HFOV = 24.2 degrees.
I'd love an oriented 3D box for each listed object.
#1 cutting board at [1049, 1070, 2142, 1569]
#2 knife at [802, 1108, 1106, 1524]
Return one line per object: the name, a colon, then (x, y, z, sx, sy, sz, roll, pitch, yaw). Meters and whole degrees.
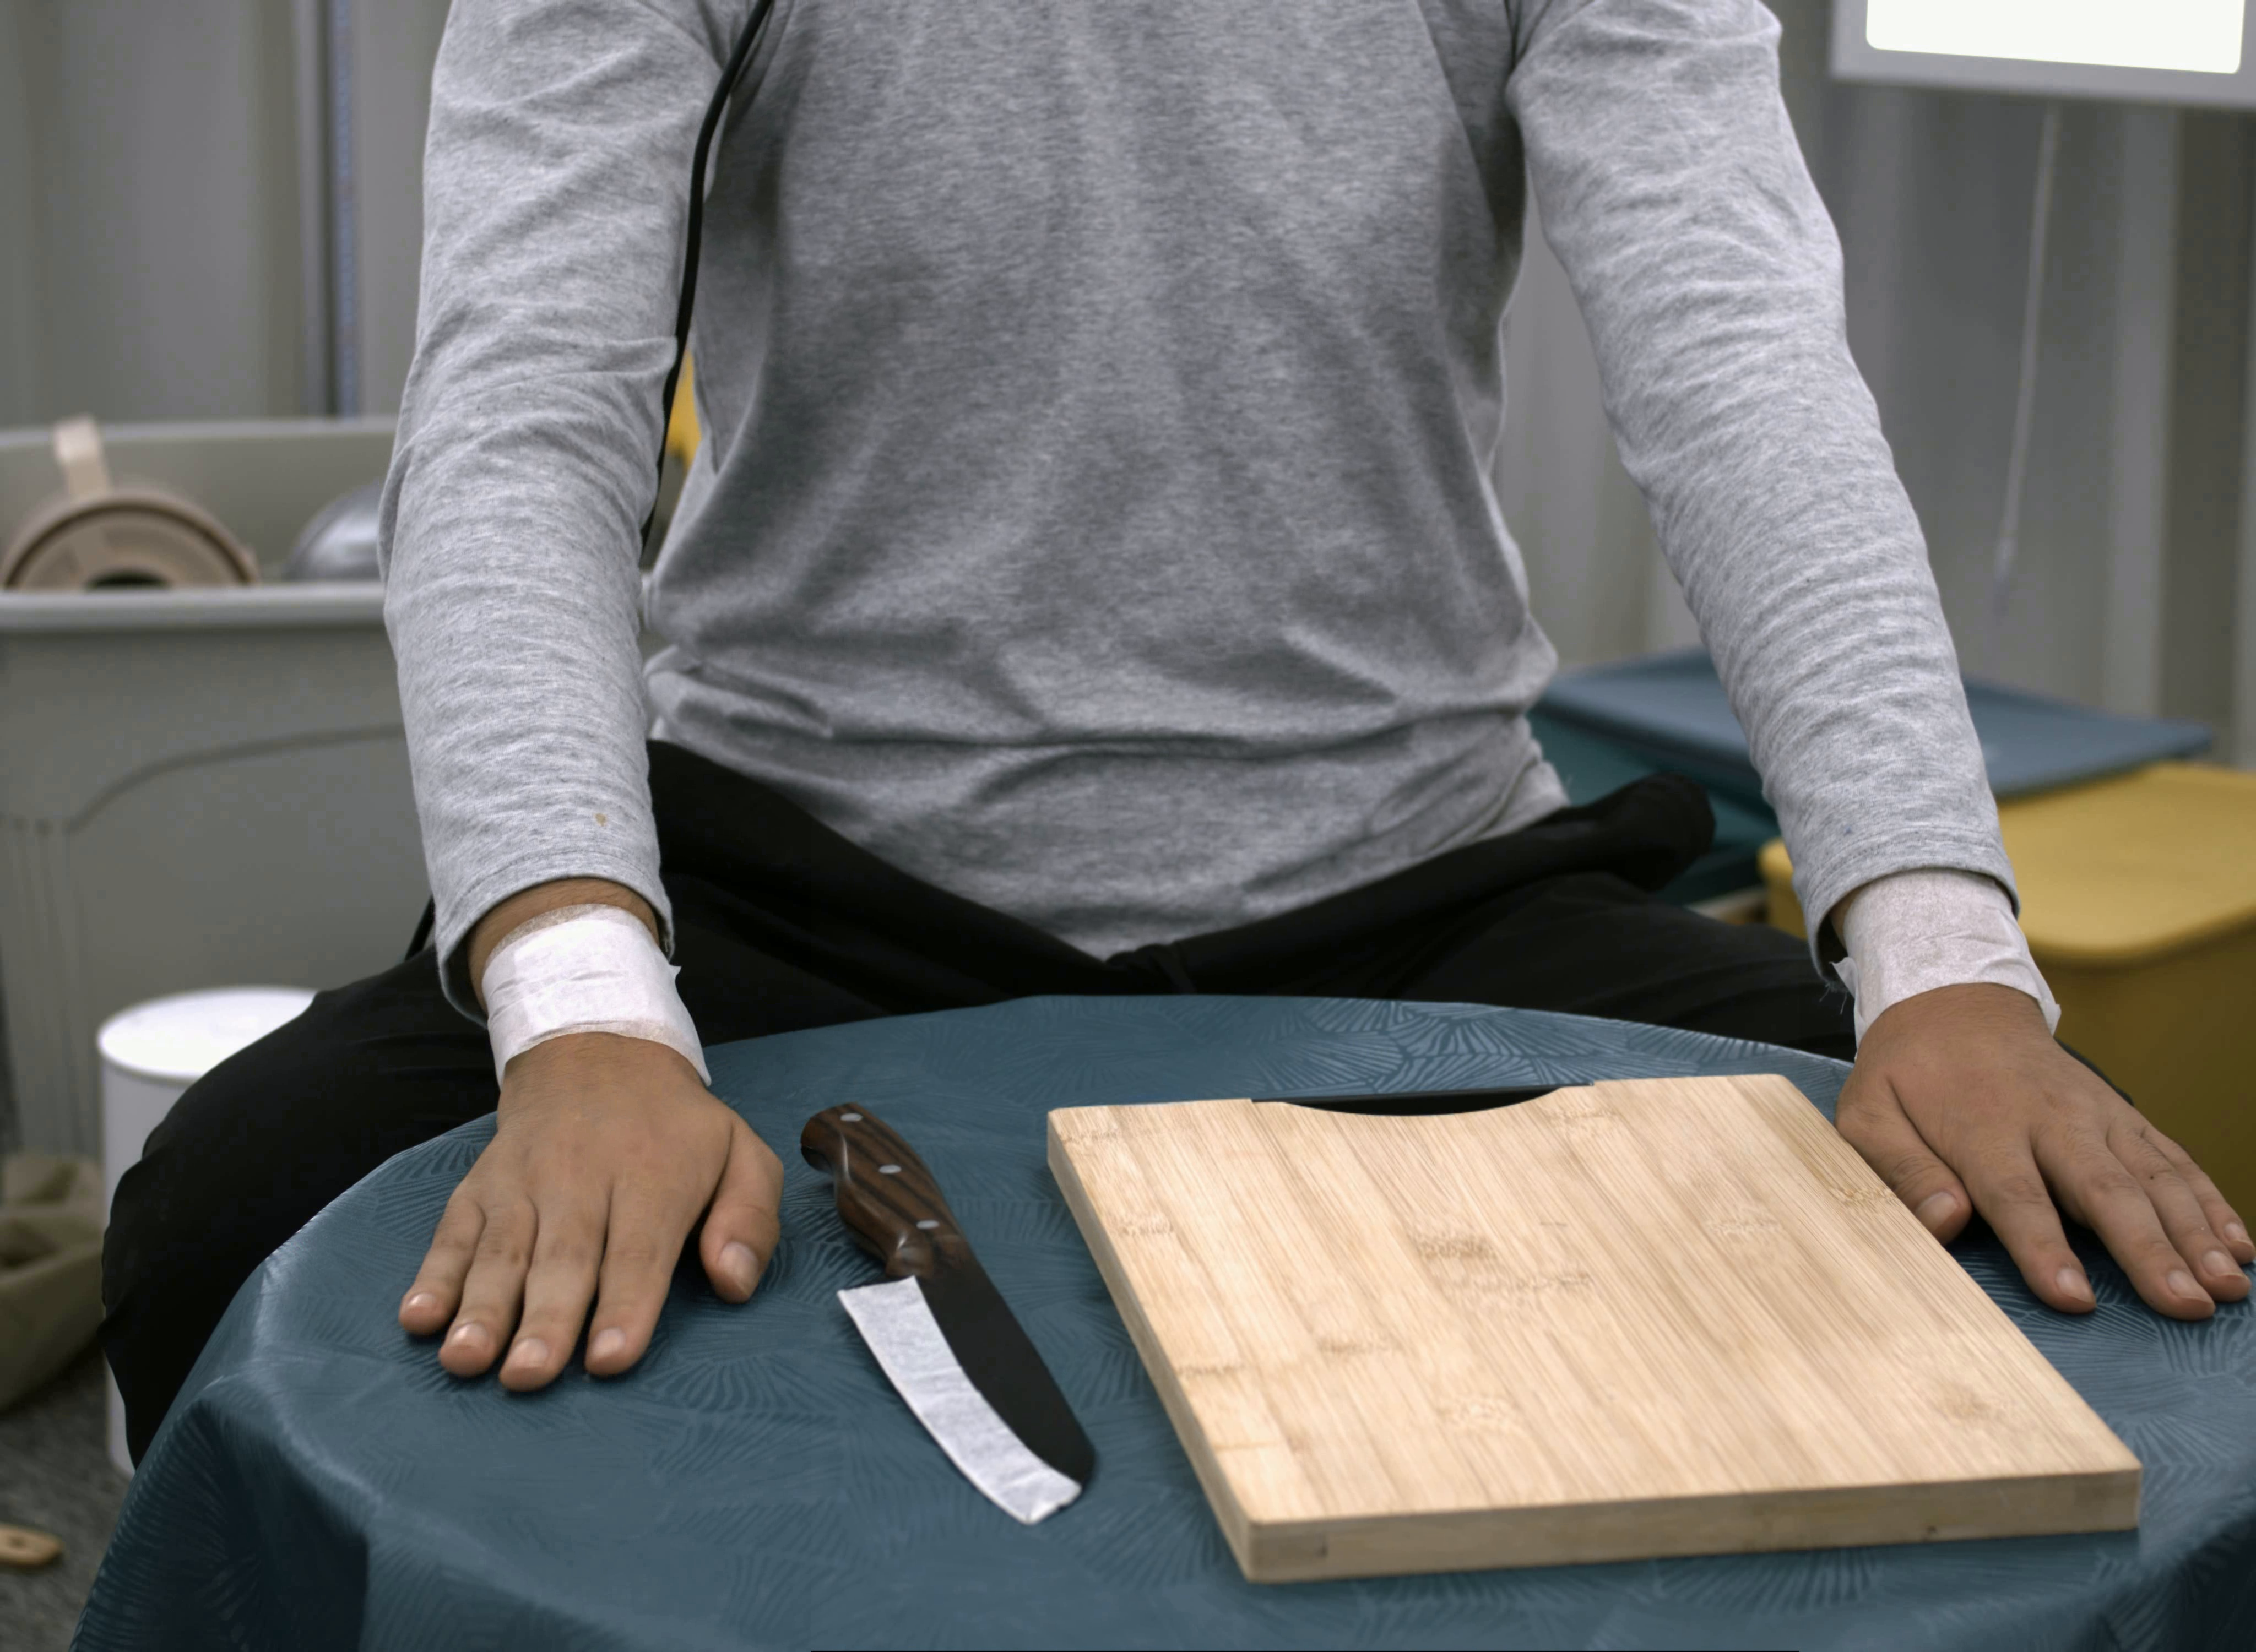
cutting board: (0.120, 0.135, 1.517, 0.251, 0.024, 0.345, -2, 15, -10)
knife: (-0.055, 0.138, 1.502, 0.050, 0.020, 0.286, -8, 19, -12)
